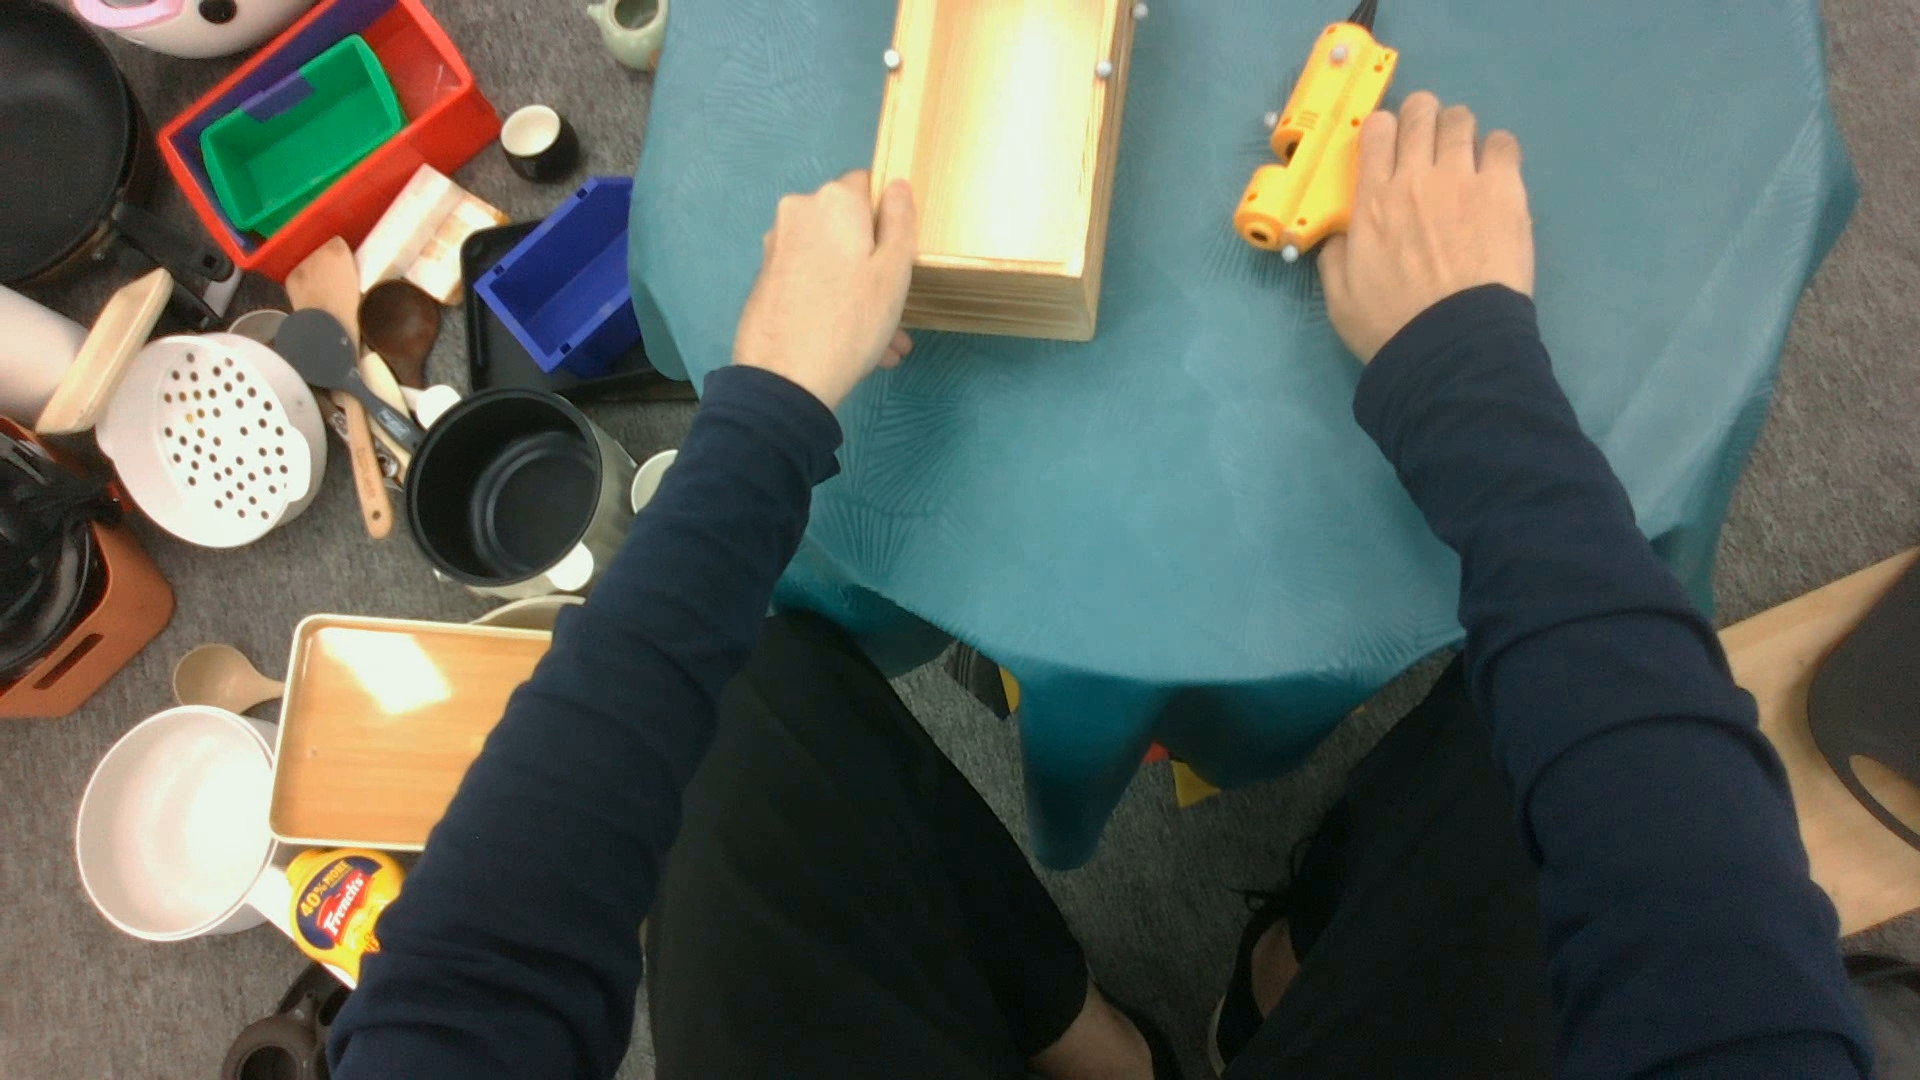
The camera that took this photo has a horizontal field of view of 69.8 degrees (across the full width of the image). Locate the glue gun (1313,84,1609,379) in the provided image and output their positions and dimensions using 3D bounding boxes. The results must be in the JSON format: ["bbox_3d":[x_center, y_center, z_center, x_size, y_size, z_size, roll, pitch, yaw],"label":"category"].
[{"bbox_3d":[0.260,-0.158,0.678,0.133,0.031,0.152,17,73,20],"label":"glue gun"}]

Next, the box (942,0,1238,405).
[{"bbox_3d":[0.072,-0.186,0.707,0.107,0.080,0.212,8,75,15],"label":"box"}]
